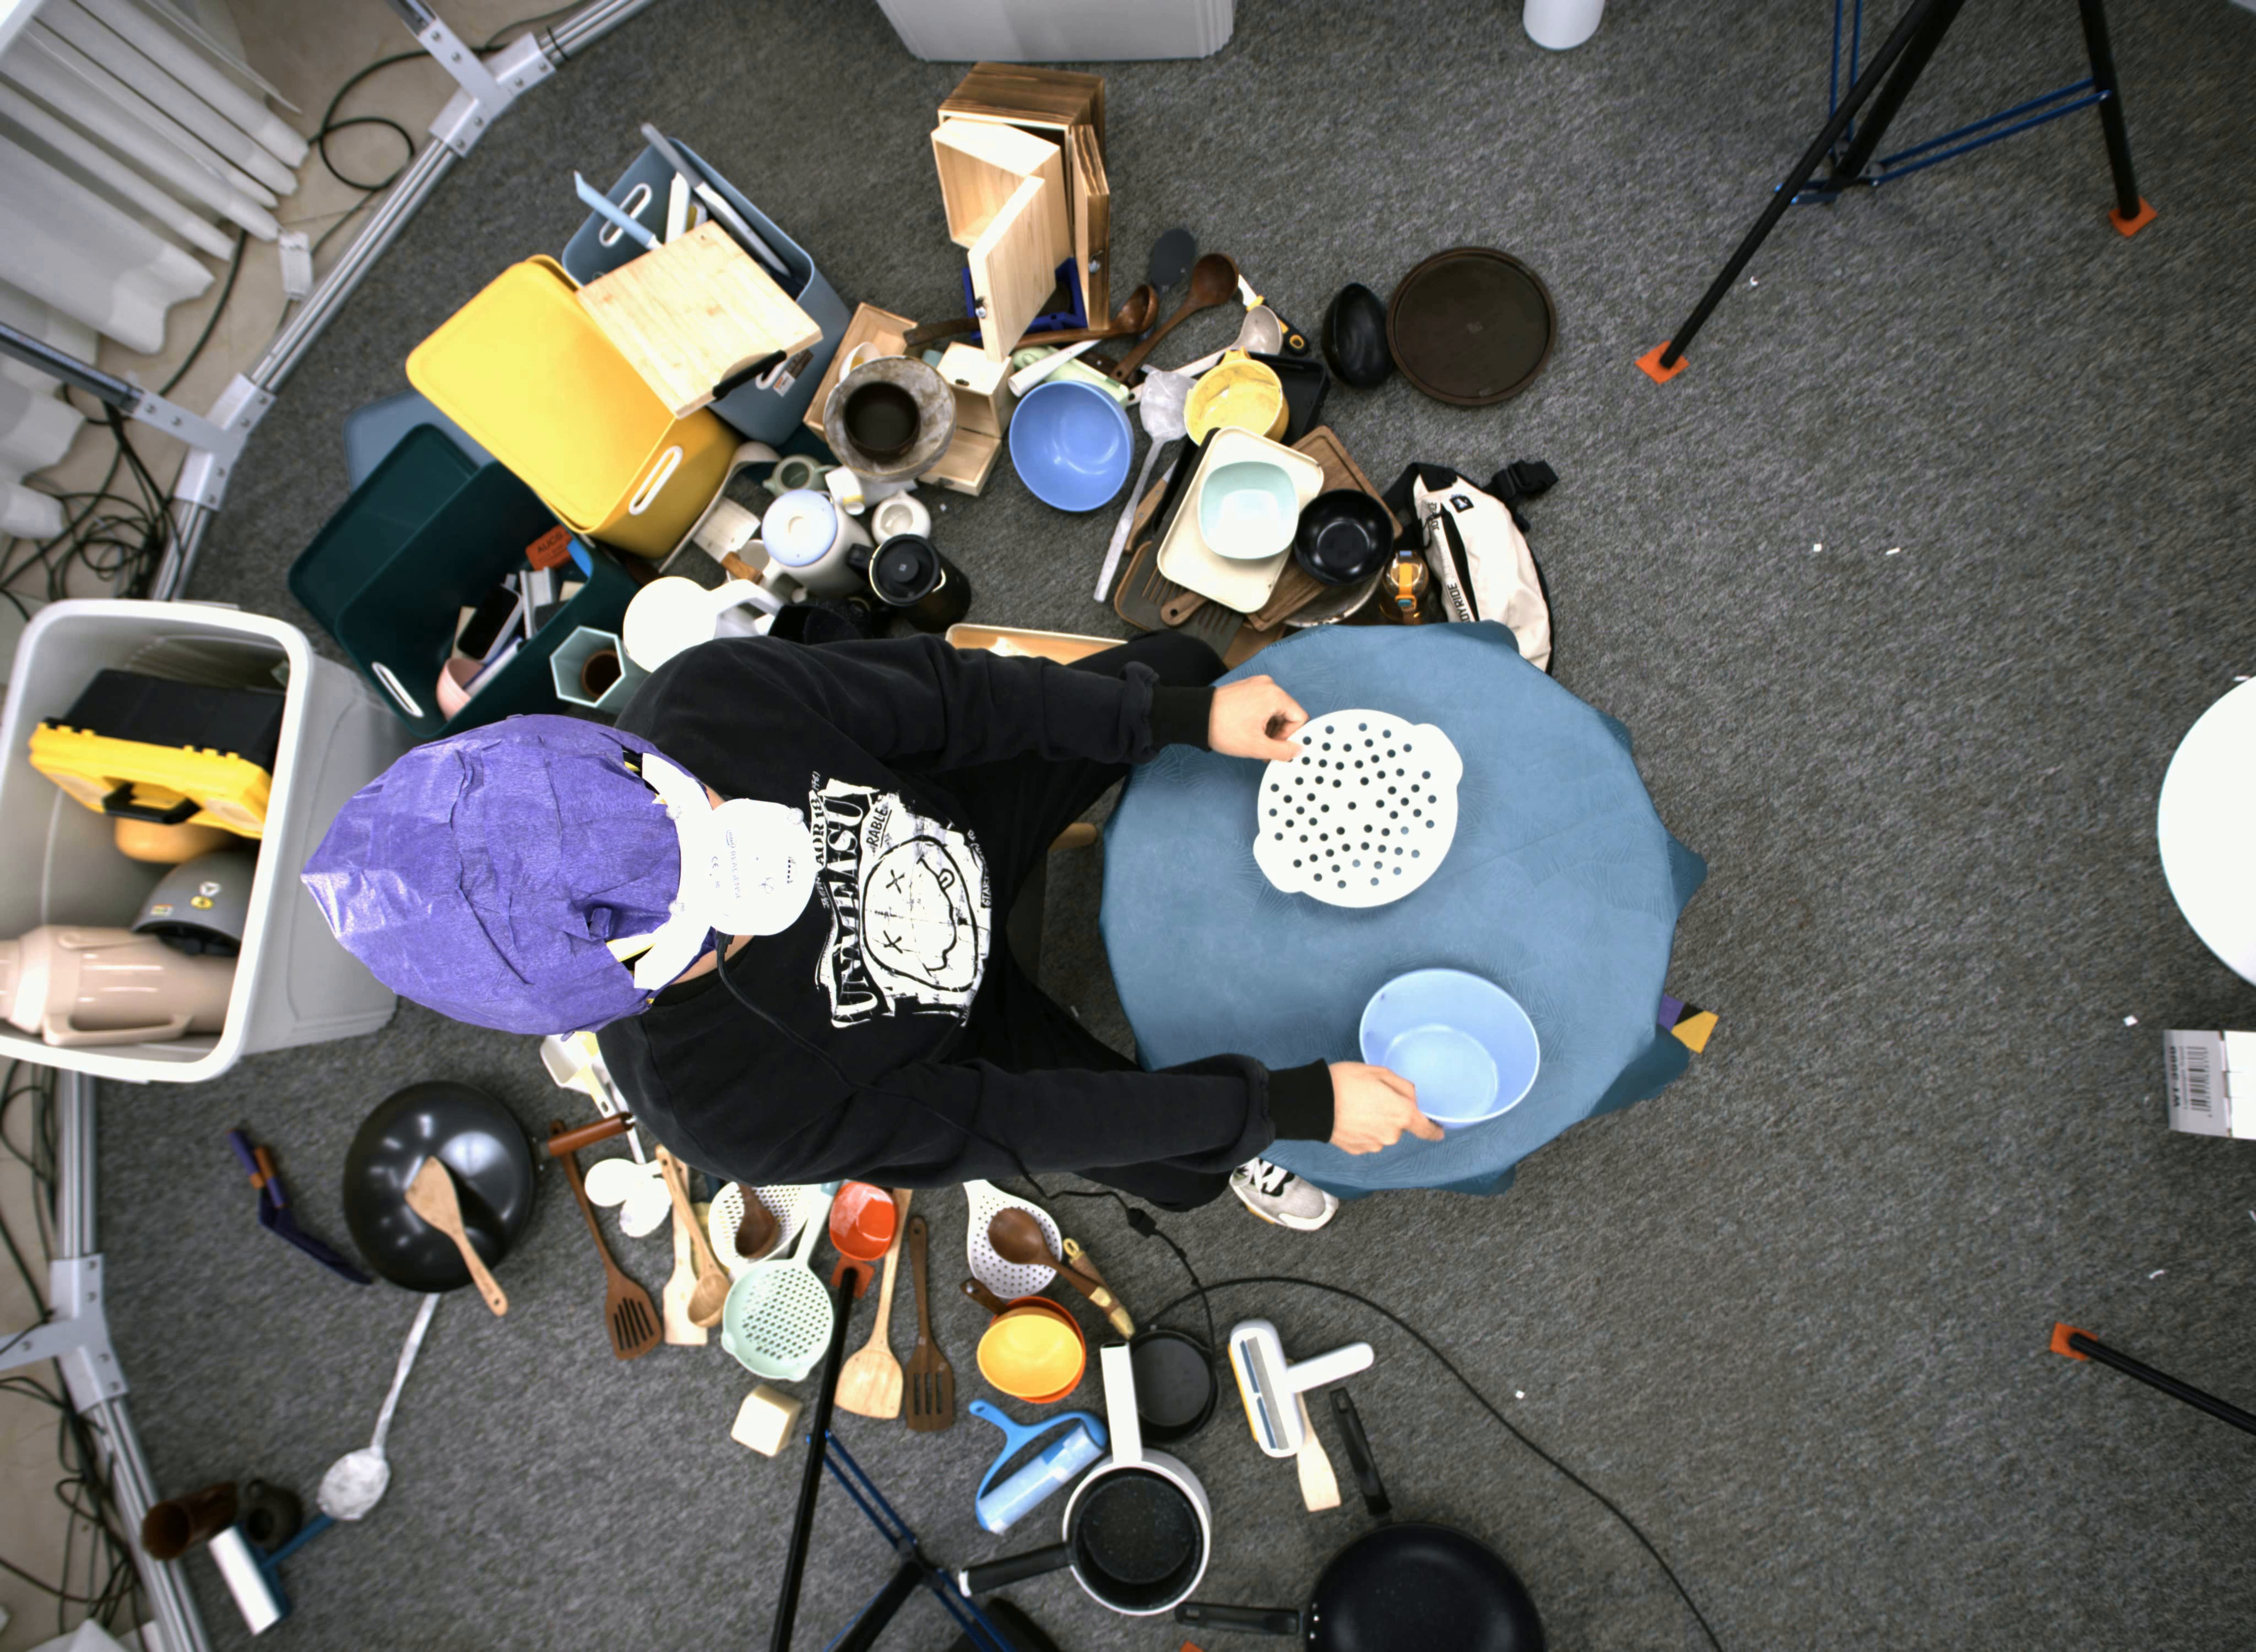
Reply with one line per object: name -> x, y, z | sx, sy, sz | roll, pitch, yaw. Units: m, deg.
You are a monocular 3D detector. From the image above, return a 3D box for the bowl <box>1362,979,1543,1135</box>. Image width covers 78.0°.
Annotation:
bowl -> 0.319, 0.239, 1.379 | 0.176, 0.072, 0.171 | -1, 46, 1

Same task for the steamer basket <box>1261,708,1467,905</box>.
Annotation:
steamer basket -> 0.241, -0.021, 1.429 | 0.231, 0.069, 0.202 | -35, 92, 4
